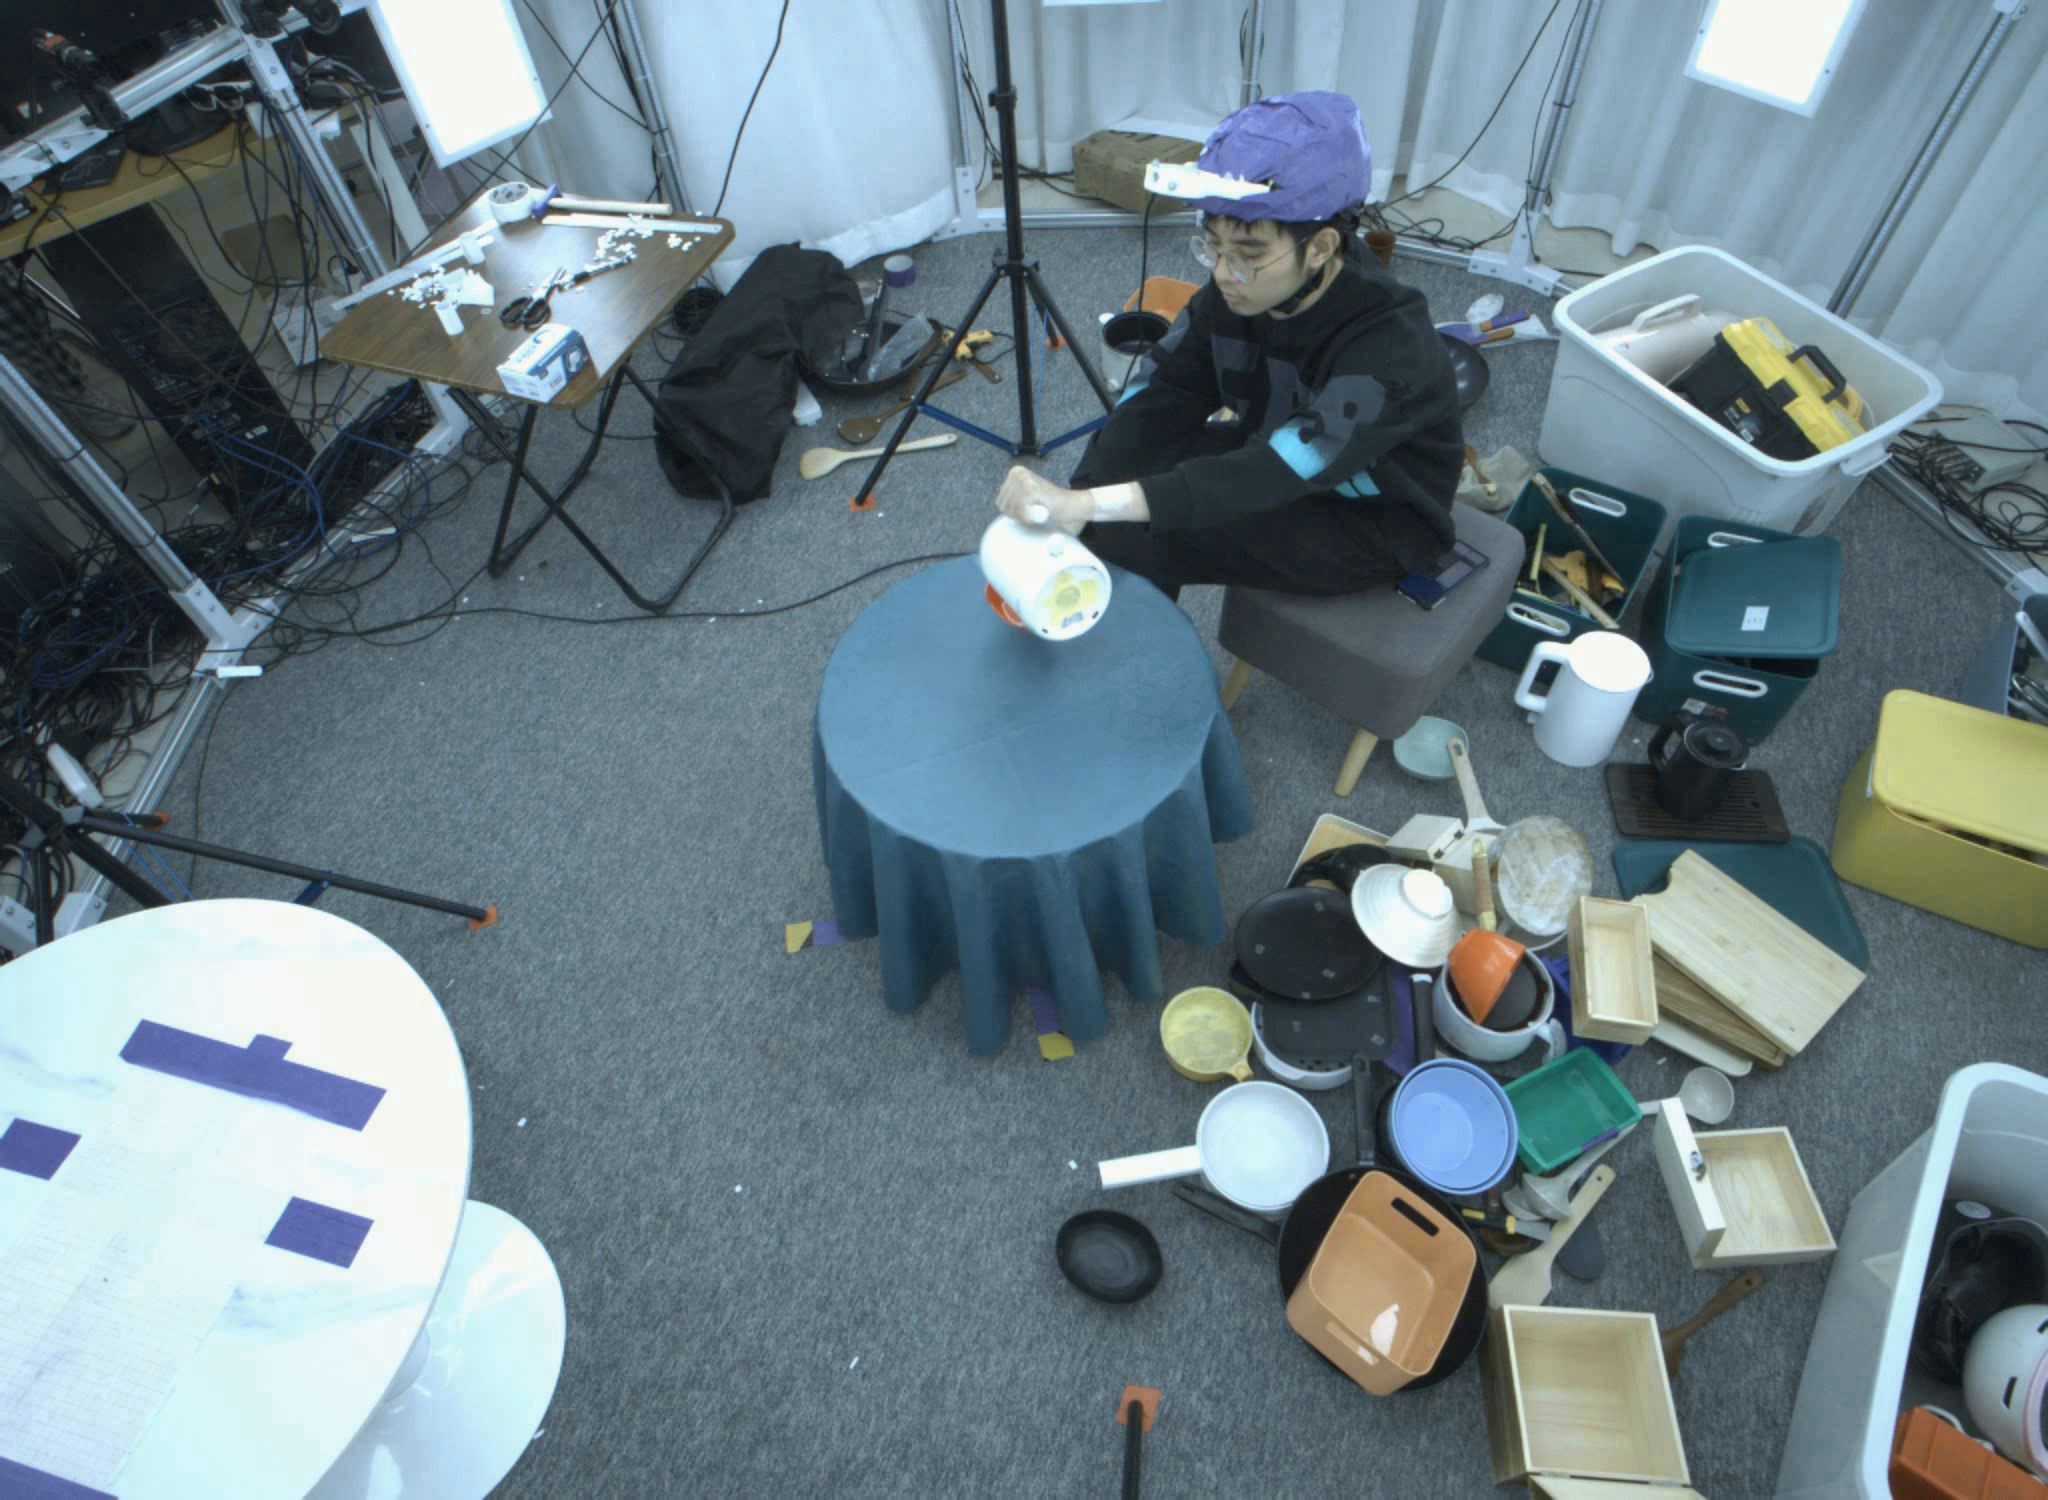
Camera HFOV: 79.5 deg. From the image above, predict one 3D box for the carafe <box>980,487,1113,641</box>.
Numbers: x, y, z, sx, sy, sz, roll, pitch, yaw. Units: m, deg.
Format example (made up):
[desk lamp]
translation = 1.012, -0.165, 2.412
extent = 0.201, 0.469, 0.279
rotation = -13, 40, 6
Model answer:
[carafe]
translation = 0.025, -0.264, 1.677
extent = 0.133, 0.193, 0.178
rotation = -24, 48, -17

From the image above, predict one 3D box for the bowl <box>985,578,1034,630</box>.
[bowl]
translation = 0.002, -0.227, 1.849
extent = 0.118, 0.052, 0.118
rotation = -1, 63, 4
